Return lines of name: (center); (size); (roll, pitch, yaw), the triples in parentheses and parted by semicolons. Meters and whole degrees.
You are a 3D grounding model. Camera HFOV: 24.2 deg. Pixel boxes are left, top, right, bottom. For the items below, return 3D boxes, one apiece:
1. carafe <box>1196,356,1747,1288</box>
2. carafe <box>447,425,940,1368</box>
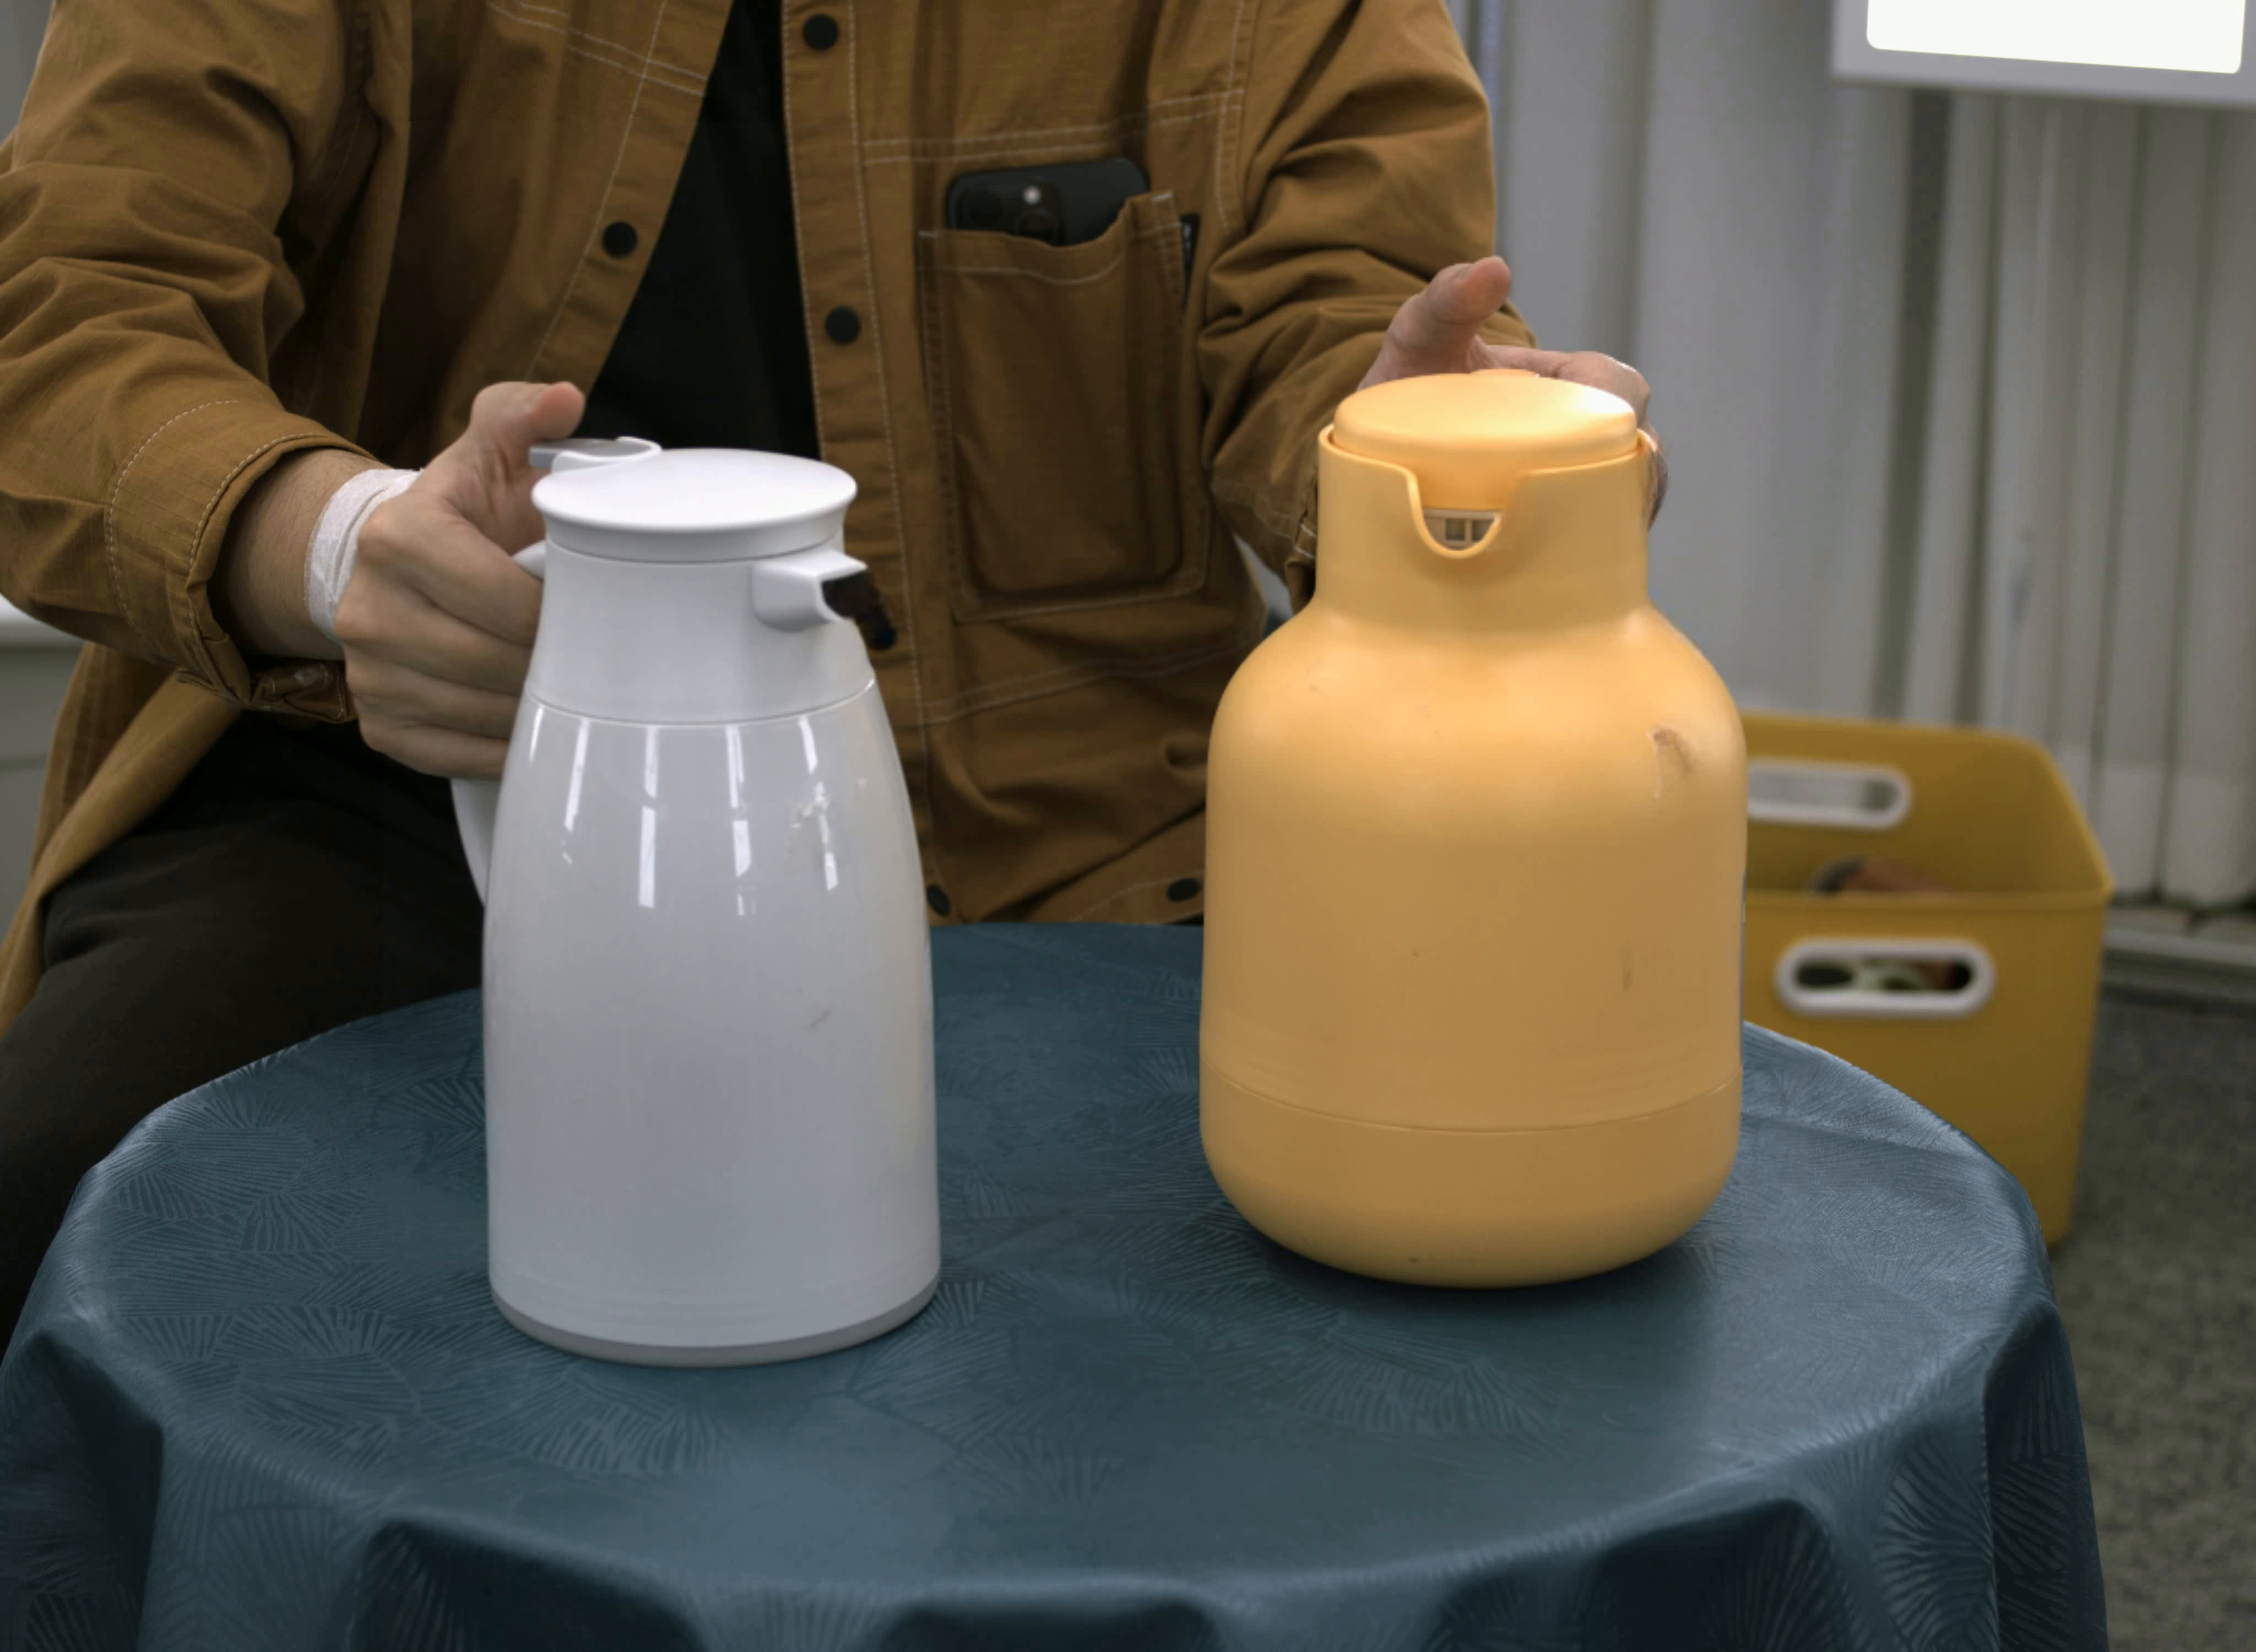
carafe: (0.107, -0.009, 1.574); (0.162, 0.262, 0.202); (5, 18, 10)
carafe: (-0.135, 0.012, 1.510); (0.165, 0.251, 0.133); (15, 23, 41)
